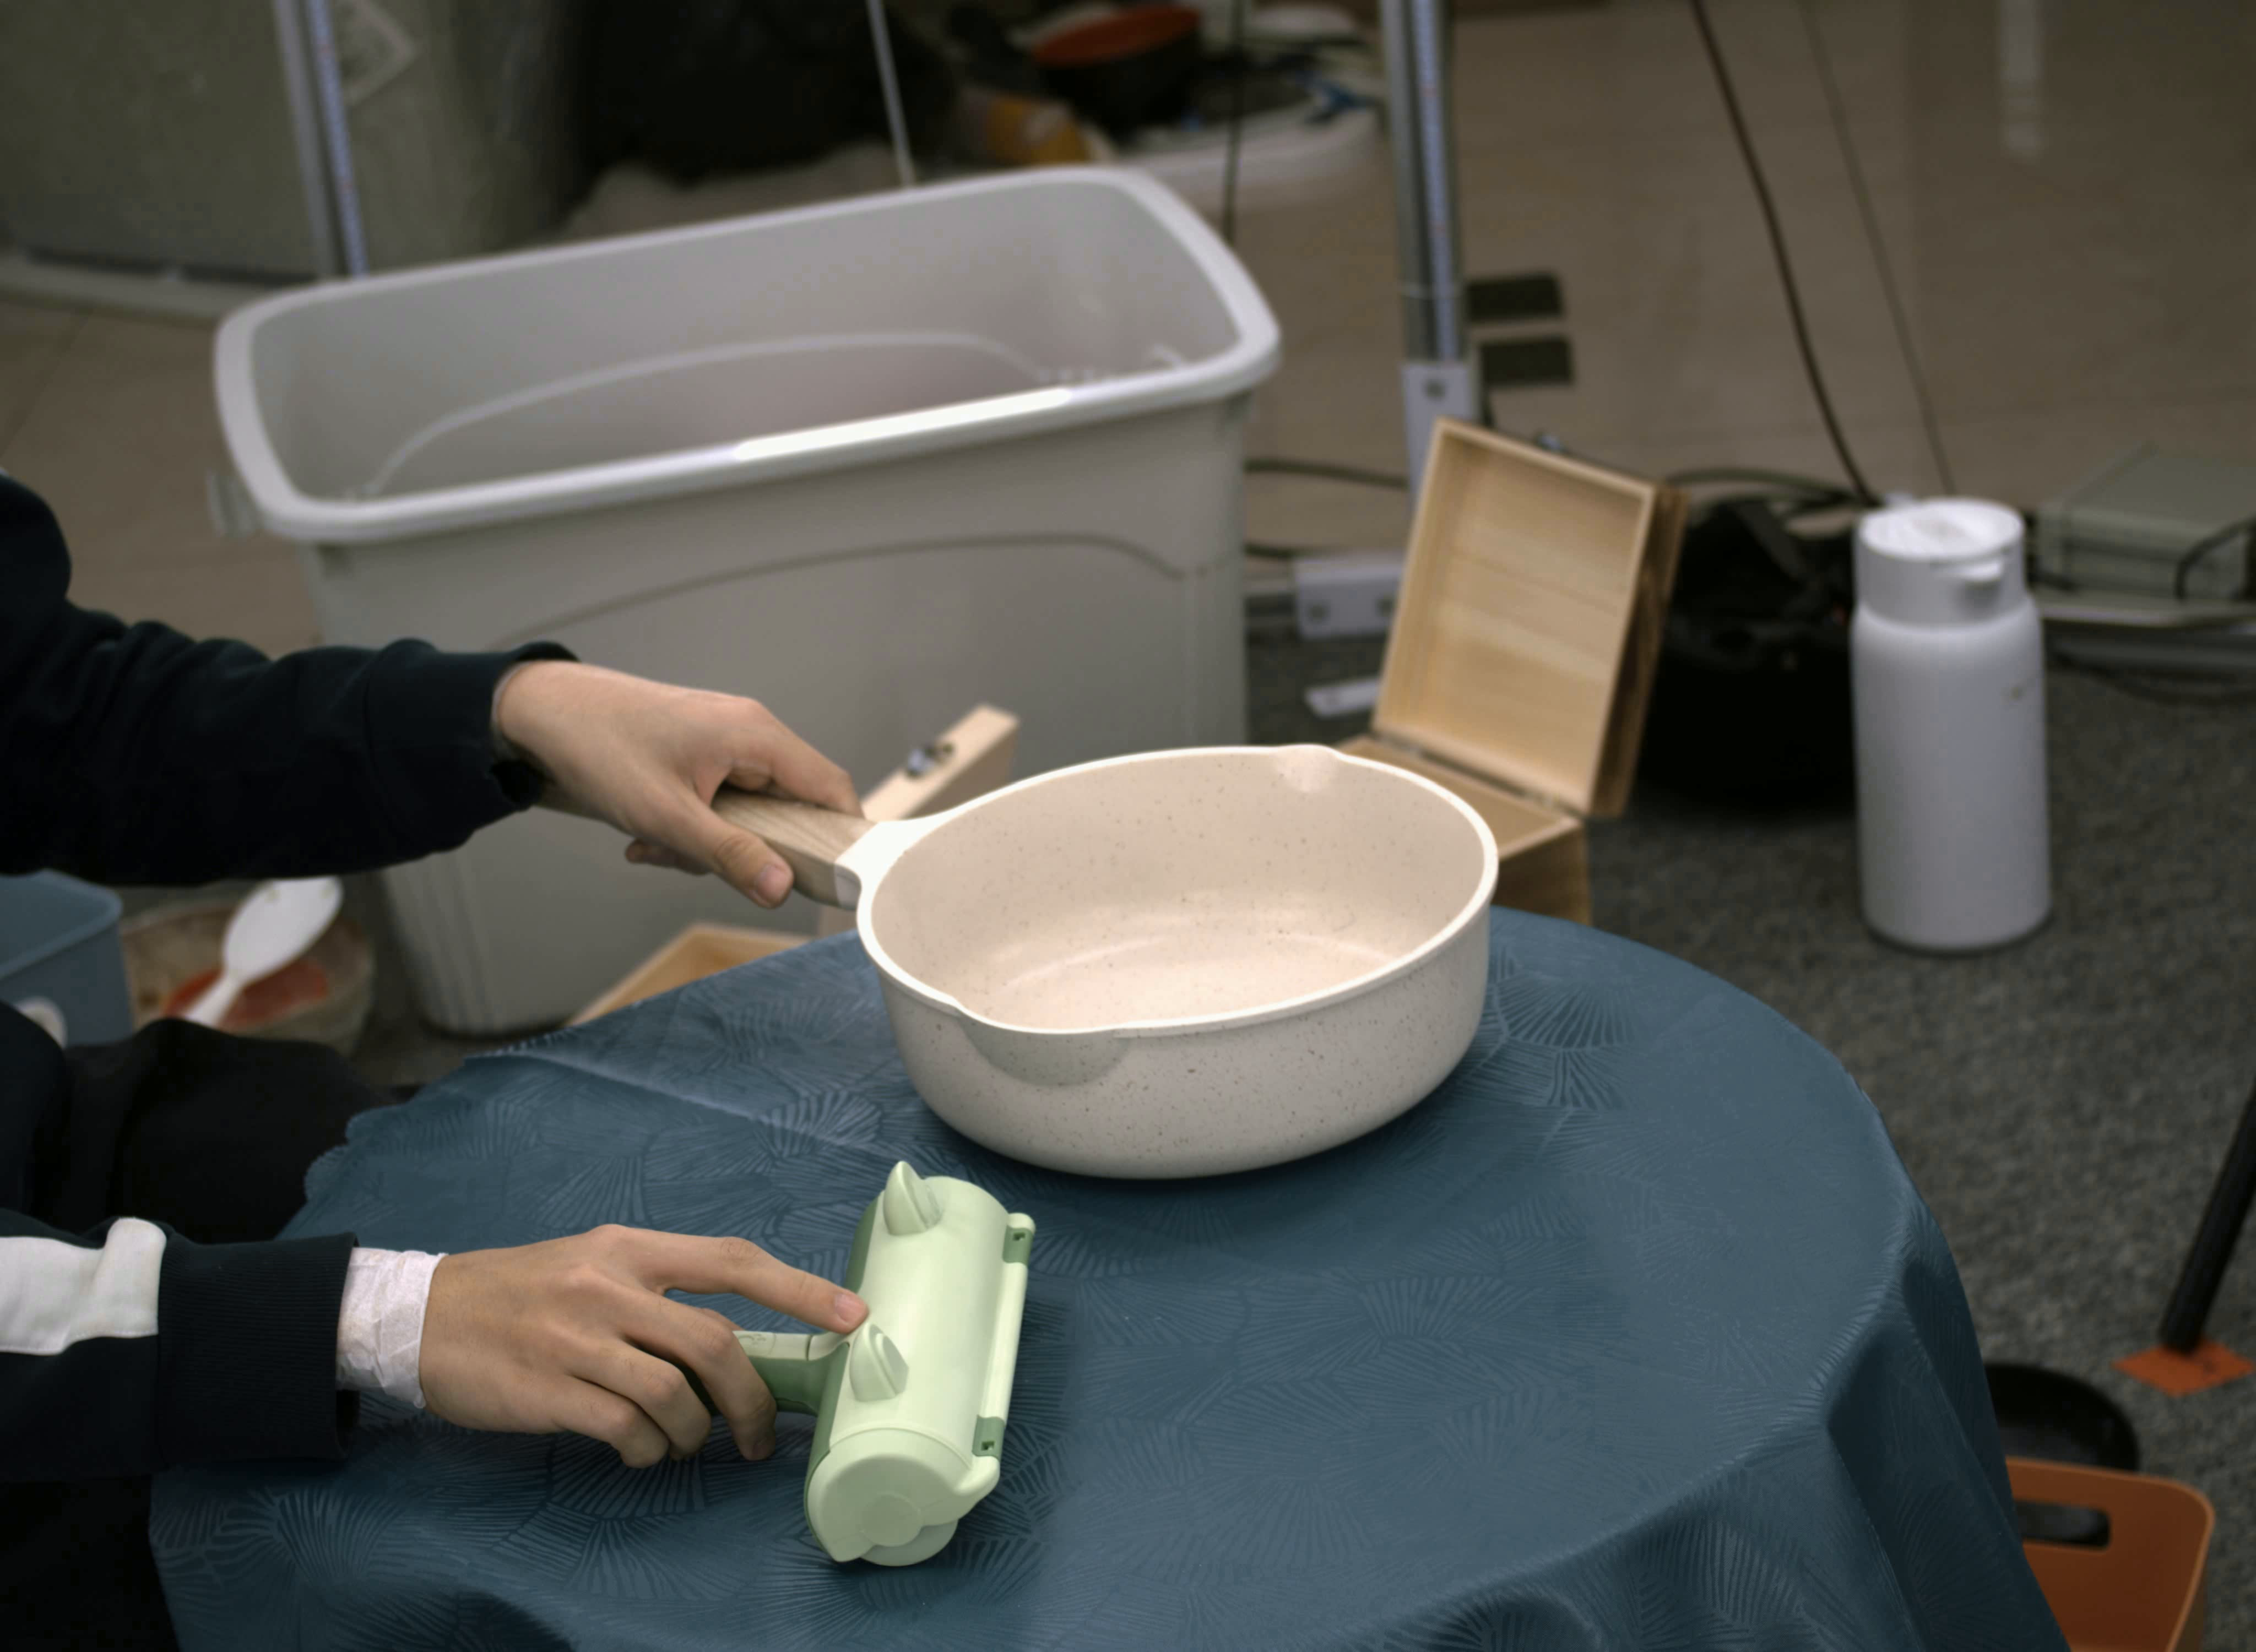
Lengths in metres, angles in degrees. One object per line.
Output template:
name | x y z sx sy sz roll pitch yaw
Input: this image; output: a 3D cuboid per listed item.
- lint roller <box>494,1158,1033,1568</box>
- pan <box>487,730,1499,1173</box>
lint roller | -0.131 0.177 1.992 0.183 0.083 0.195 5 26 1
pan | -0.059 0.039 2.254 0.433 0.103 0.260 5 29 26
